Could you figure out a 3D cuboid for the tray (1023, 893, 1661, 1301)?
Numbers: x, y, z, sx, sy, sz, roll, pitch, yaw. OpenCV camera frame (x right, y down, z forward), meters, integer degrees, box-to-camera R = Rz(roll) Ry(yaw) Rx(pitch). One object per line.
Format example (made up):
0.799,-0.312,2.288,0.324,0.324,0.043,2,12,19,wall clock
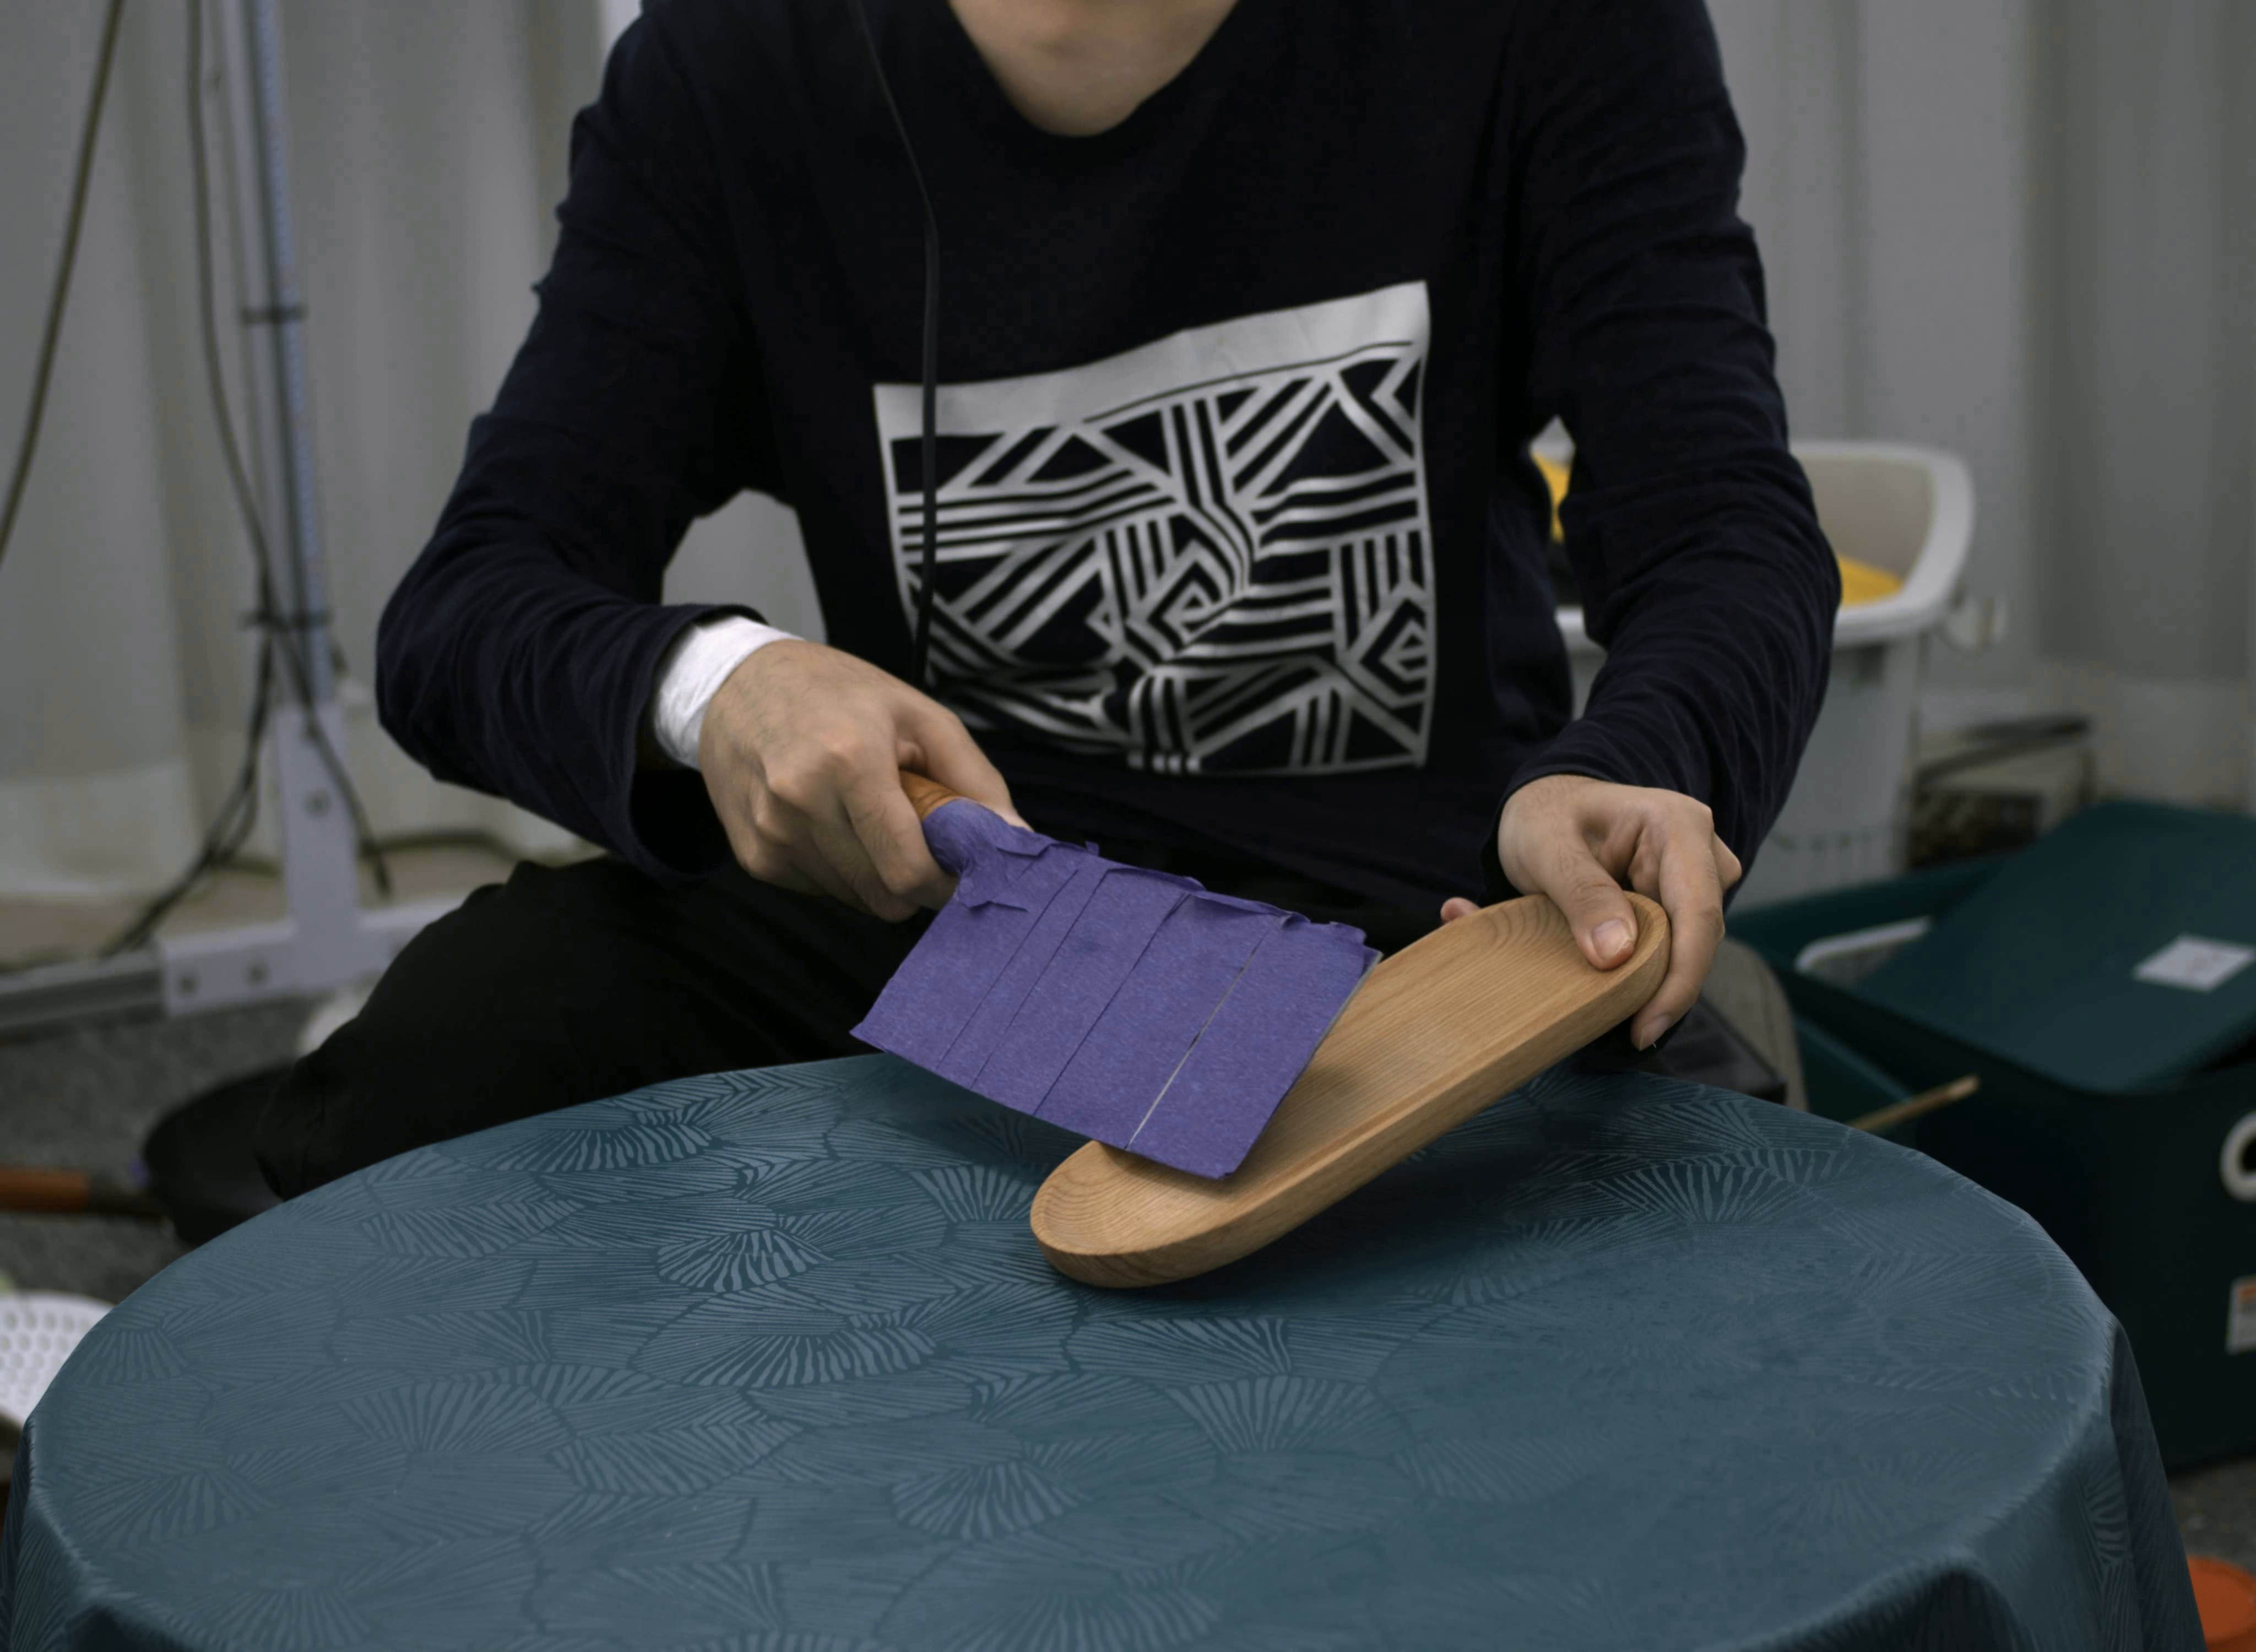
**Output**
0.068,0.082,1.678,0.231,0.020,0.102,-33,22,-26,tray

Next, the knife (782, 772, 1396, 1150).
-0.037,0.041,1.770,0.104,0.032,0.317,-53,33,-15,knife
